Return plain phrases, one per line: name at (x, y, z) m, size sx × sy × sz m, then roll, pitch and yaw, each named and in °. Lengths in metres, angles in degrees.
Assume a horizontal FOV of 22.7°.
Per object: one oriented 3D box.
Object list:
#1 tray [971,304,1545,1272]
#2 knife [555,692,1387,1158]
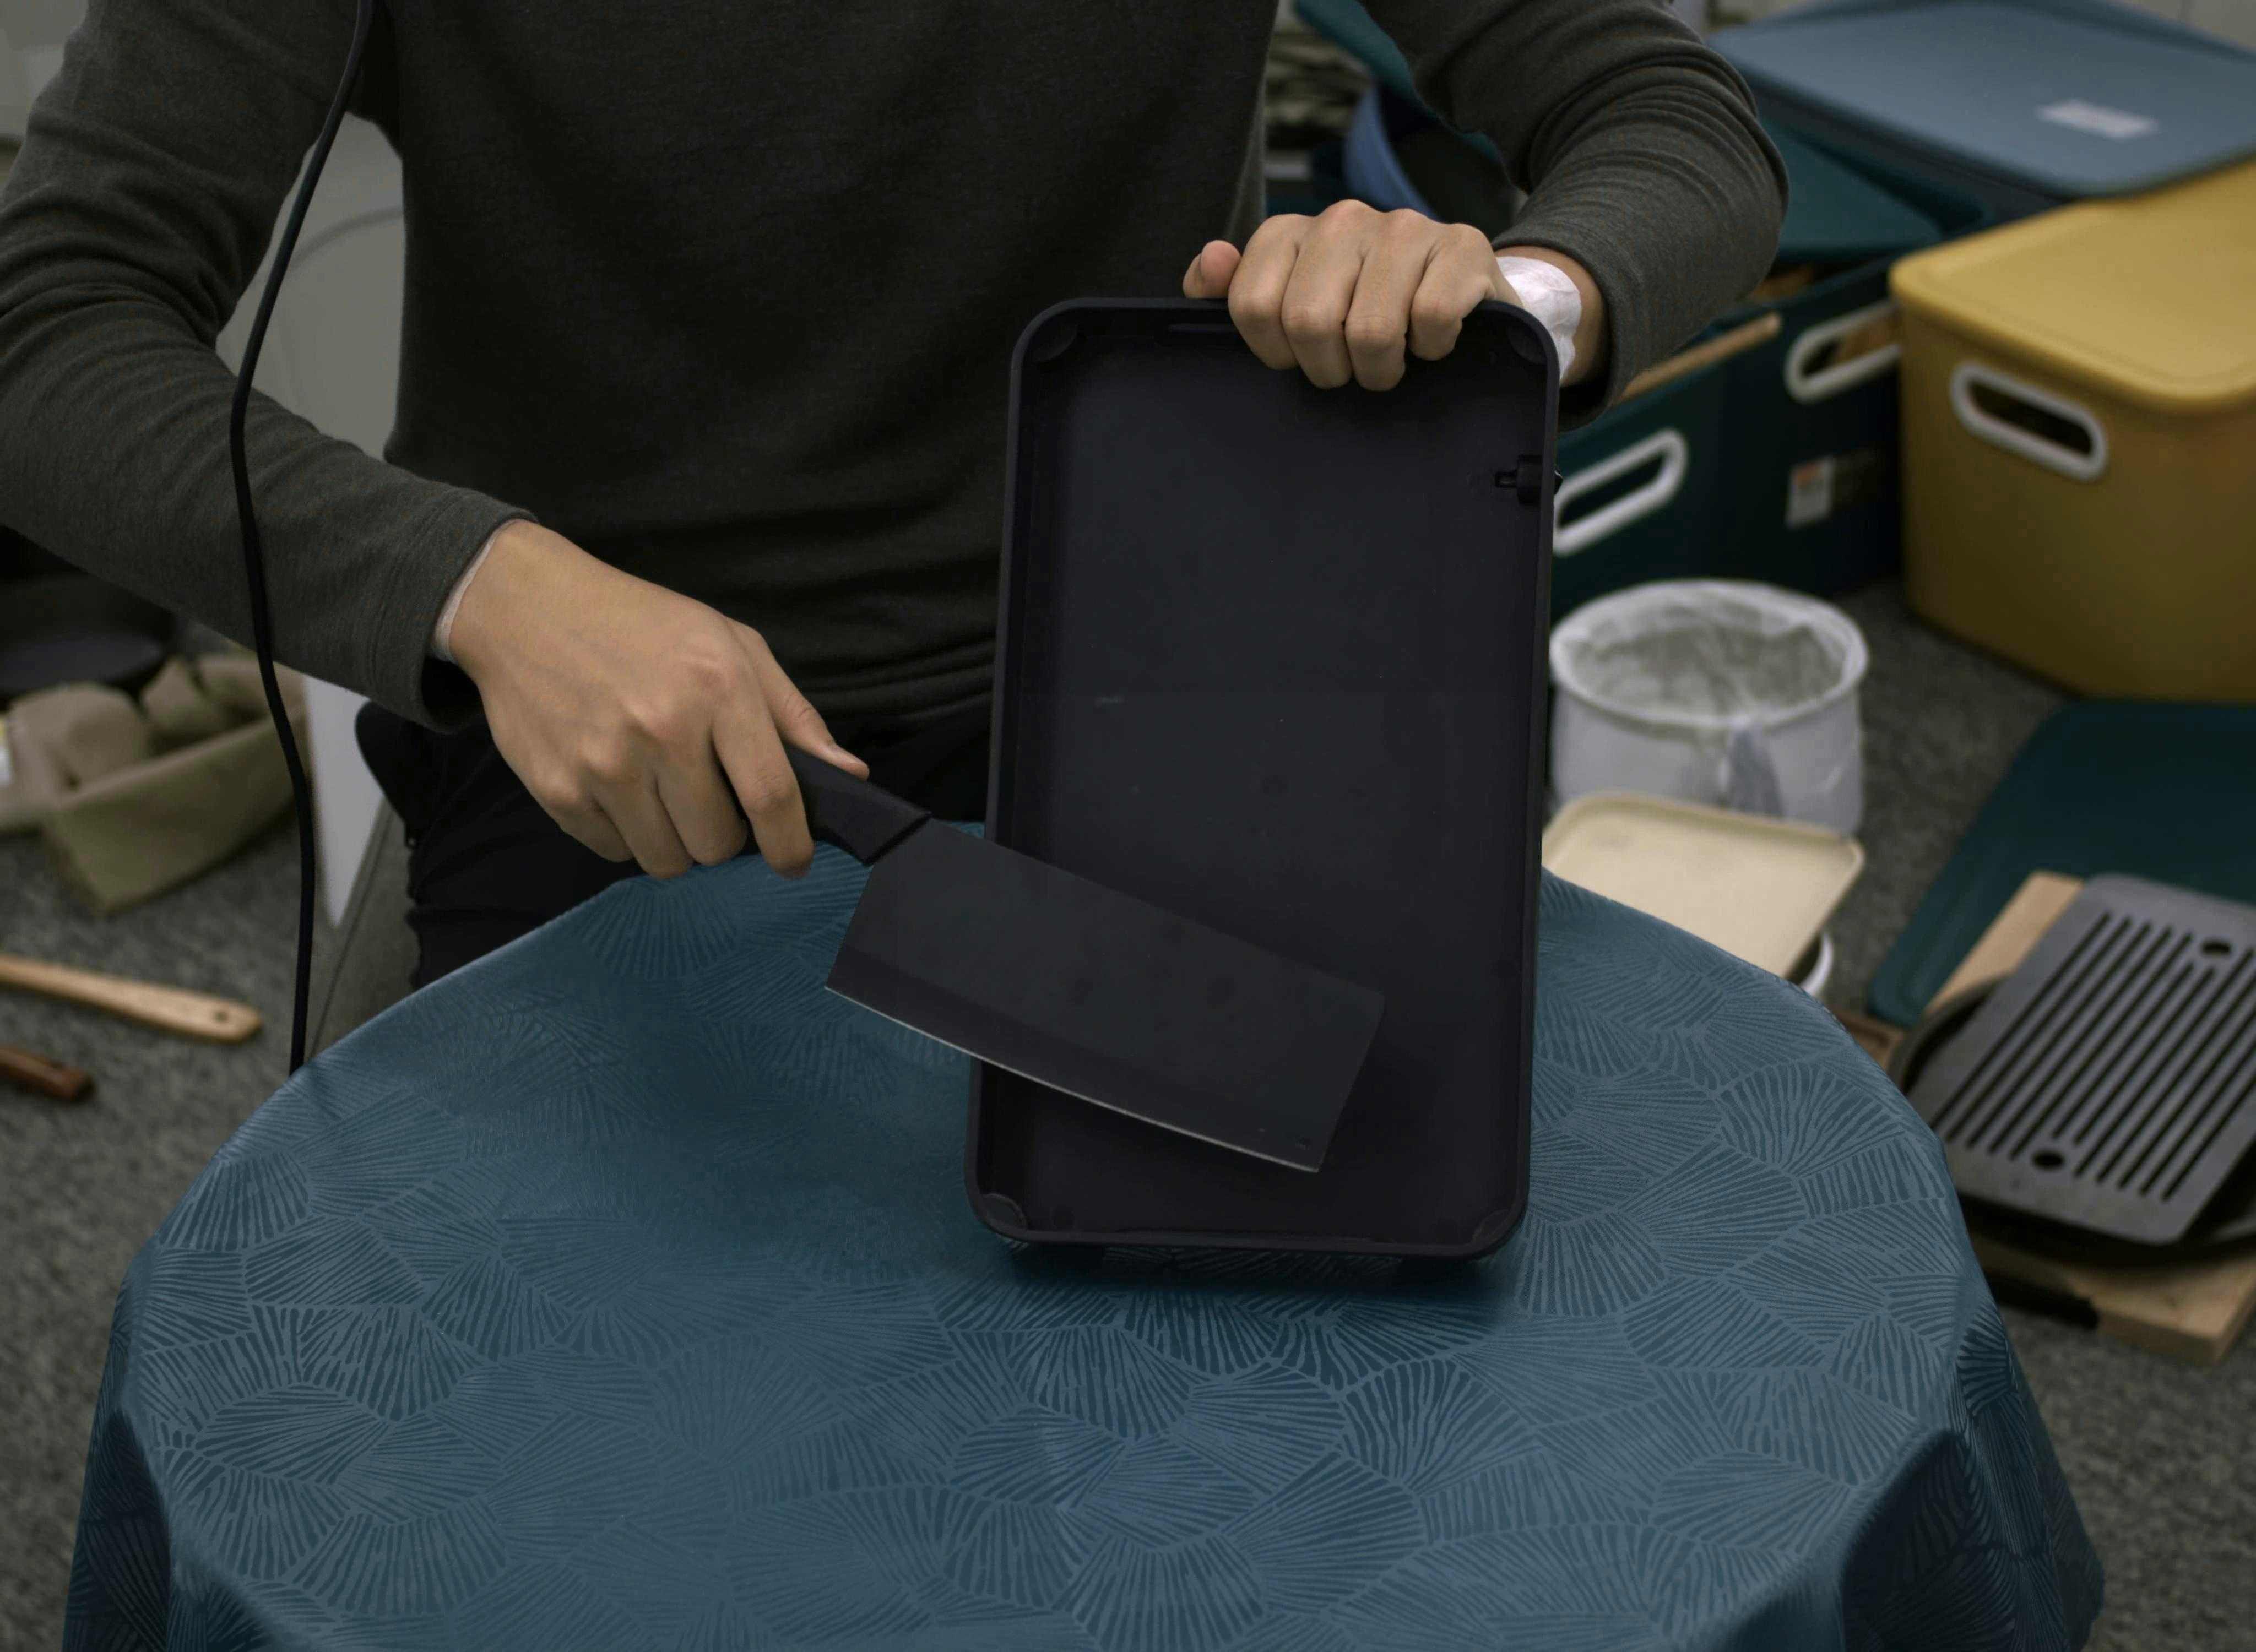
tray at (0.045, -0.012, 1.843) m, size 0.183 × 0.322 × 0.037 m, roll -1°, pitch -14°, yaw 8°
knife at (-0.058, 0.028, 1.831) m, size 0.302 × 0.081 × 0.021 m, roll 25°, pitch -7°, yaw 20°
